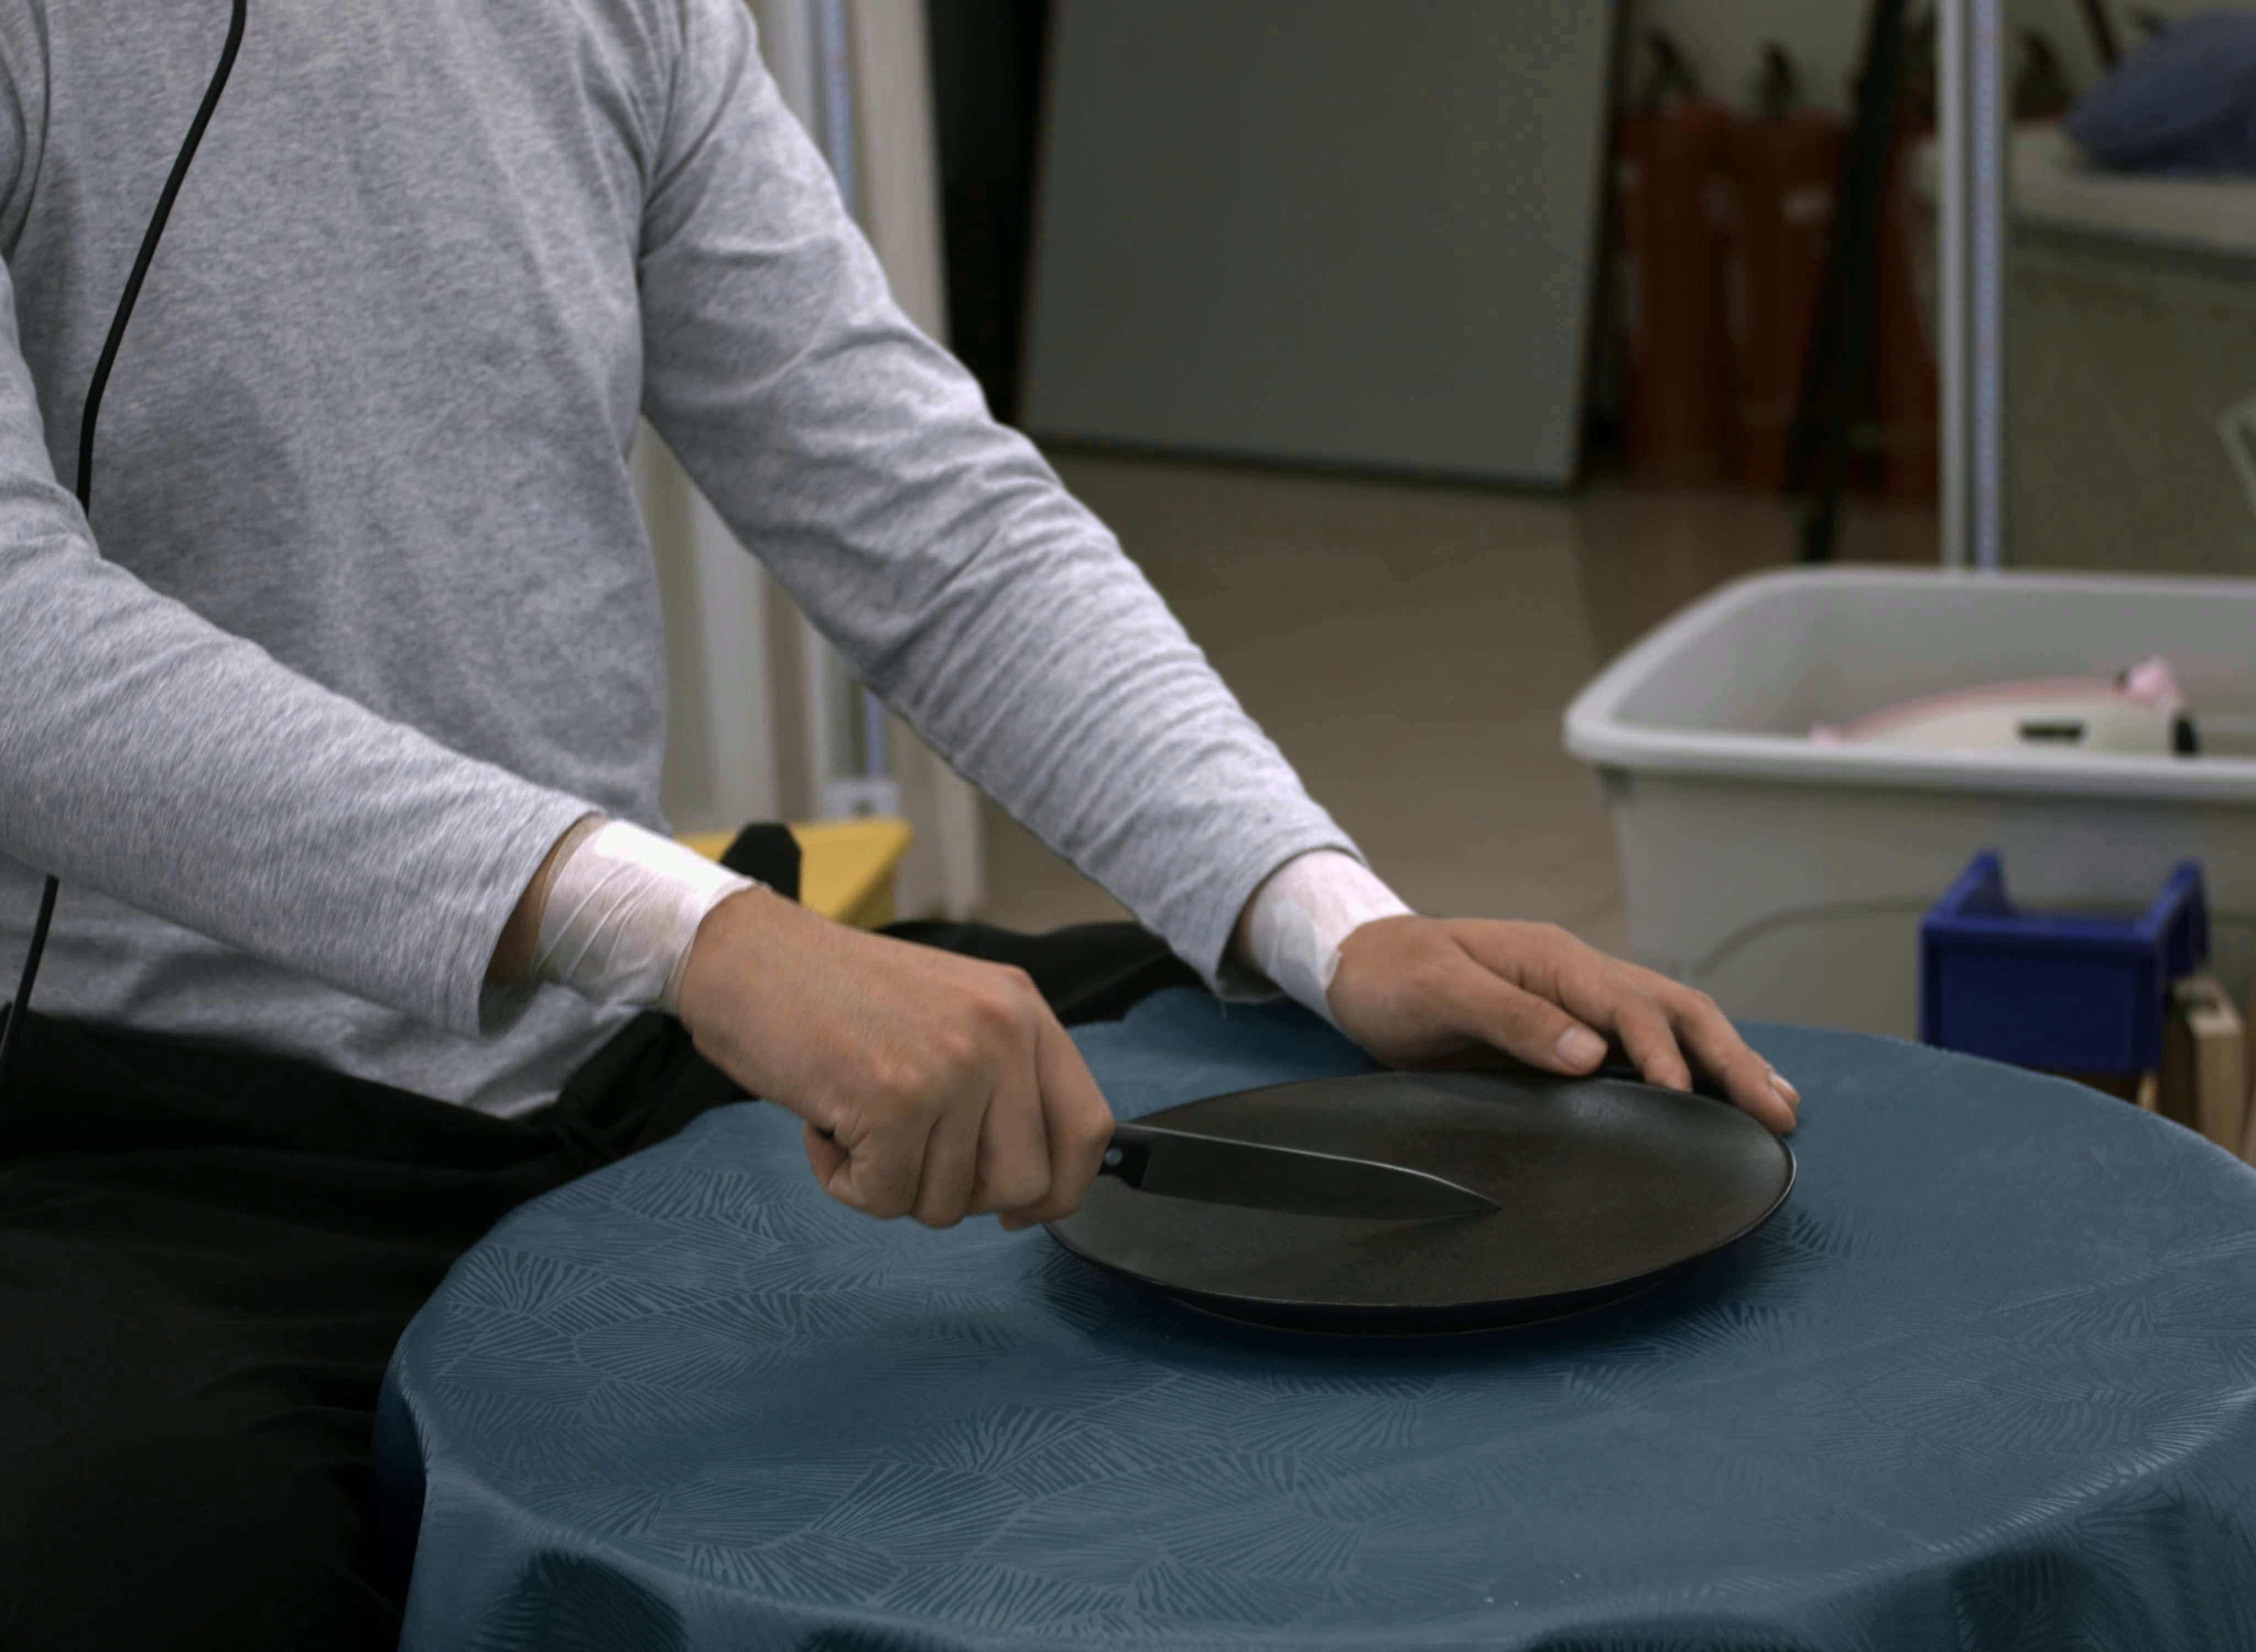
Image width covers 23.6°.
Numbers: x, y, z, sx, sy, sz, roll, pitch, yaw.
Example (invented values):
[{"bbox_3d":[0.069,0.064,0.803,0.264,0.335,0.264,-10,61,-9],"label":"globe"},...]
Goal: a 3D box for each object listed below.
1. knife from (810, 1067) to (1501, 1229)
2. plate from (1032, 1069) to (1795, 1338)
[{"bbox_3d":[0.013,0.101,1.658,0.233,0.025,0.016,12,15,-22],"label":"knife"},{"bbox_3d":[0.090,0.121,1.700,0.241,0.024,0.245,-4,13,0],"label":"plate"}]
